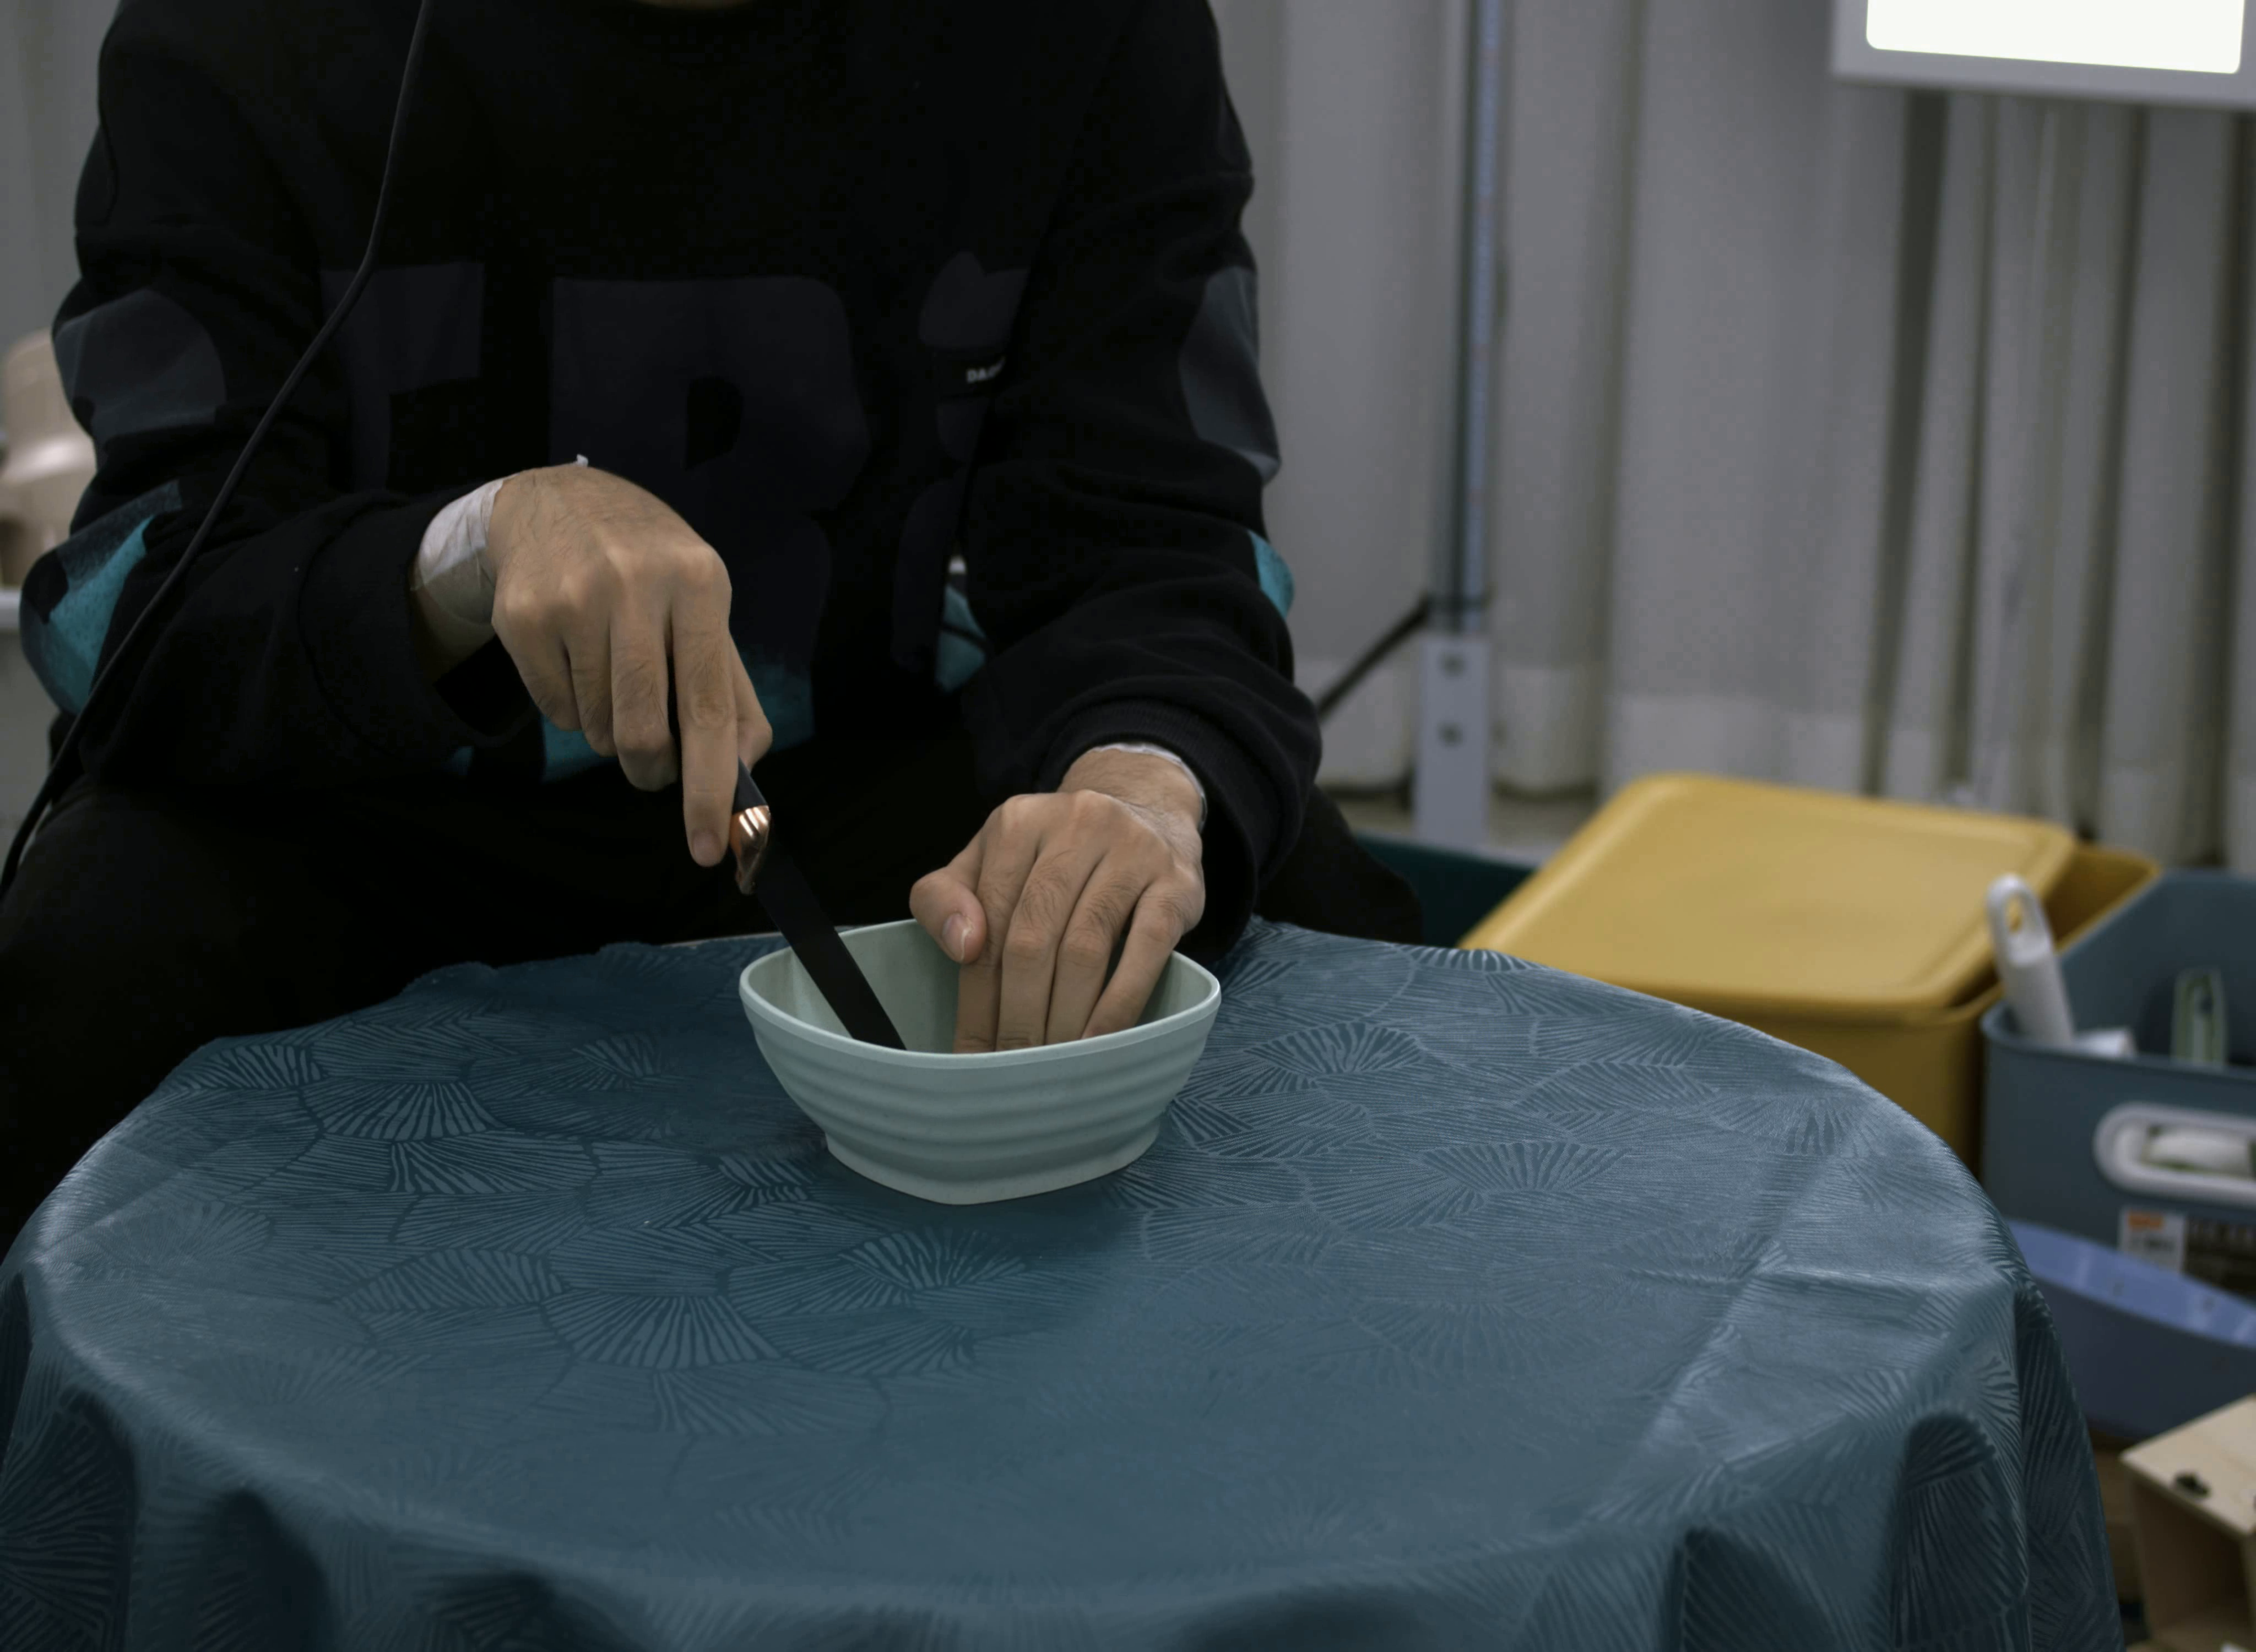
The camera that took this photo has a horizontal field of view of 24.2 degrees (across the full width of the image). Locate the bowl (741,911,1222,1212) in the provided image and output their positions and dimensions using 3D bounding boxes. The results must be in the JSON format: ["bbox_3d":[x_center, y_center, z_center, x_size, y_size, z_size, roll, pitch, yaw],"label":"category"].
[{"bbox_3d":[-0.045,0.077,1.647,0.151,0.059,0.150,0,17,1],"label":"bowl"}]

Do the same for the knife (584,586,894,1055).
[{"bbox_3d":[-0.114,0.016,1.668,0.017,0.026,0.224,-9,60,-52],"label":"knife"}]
